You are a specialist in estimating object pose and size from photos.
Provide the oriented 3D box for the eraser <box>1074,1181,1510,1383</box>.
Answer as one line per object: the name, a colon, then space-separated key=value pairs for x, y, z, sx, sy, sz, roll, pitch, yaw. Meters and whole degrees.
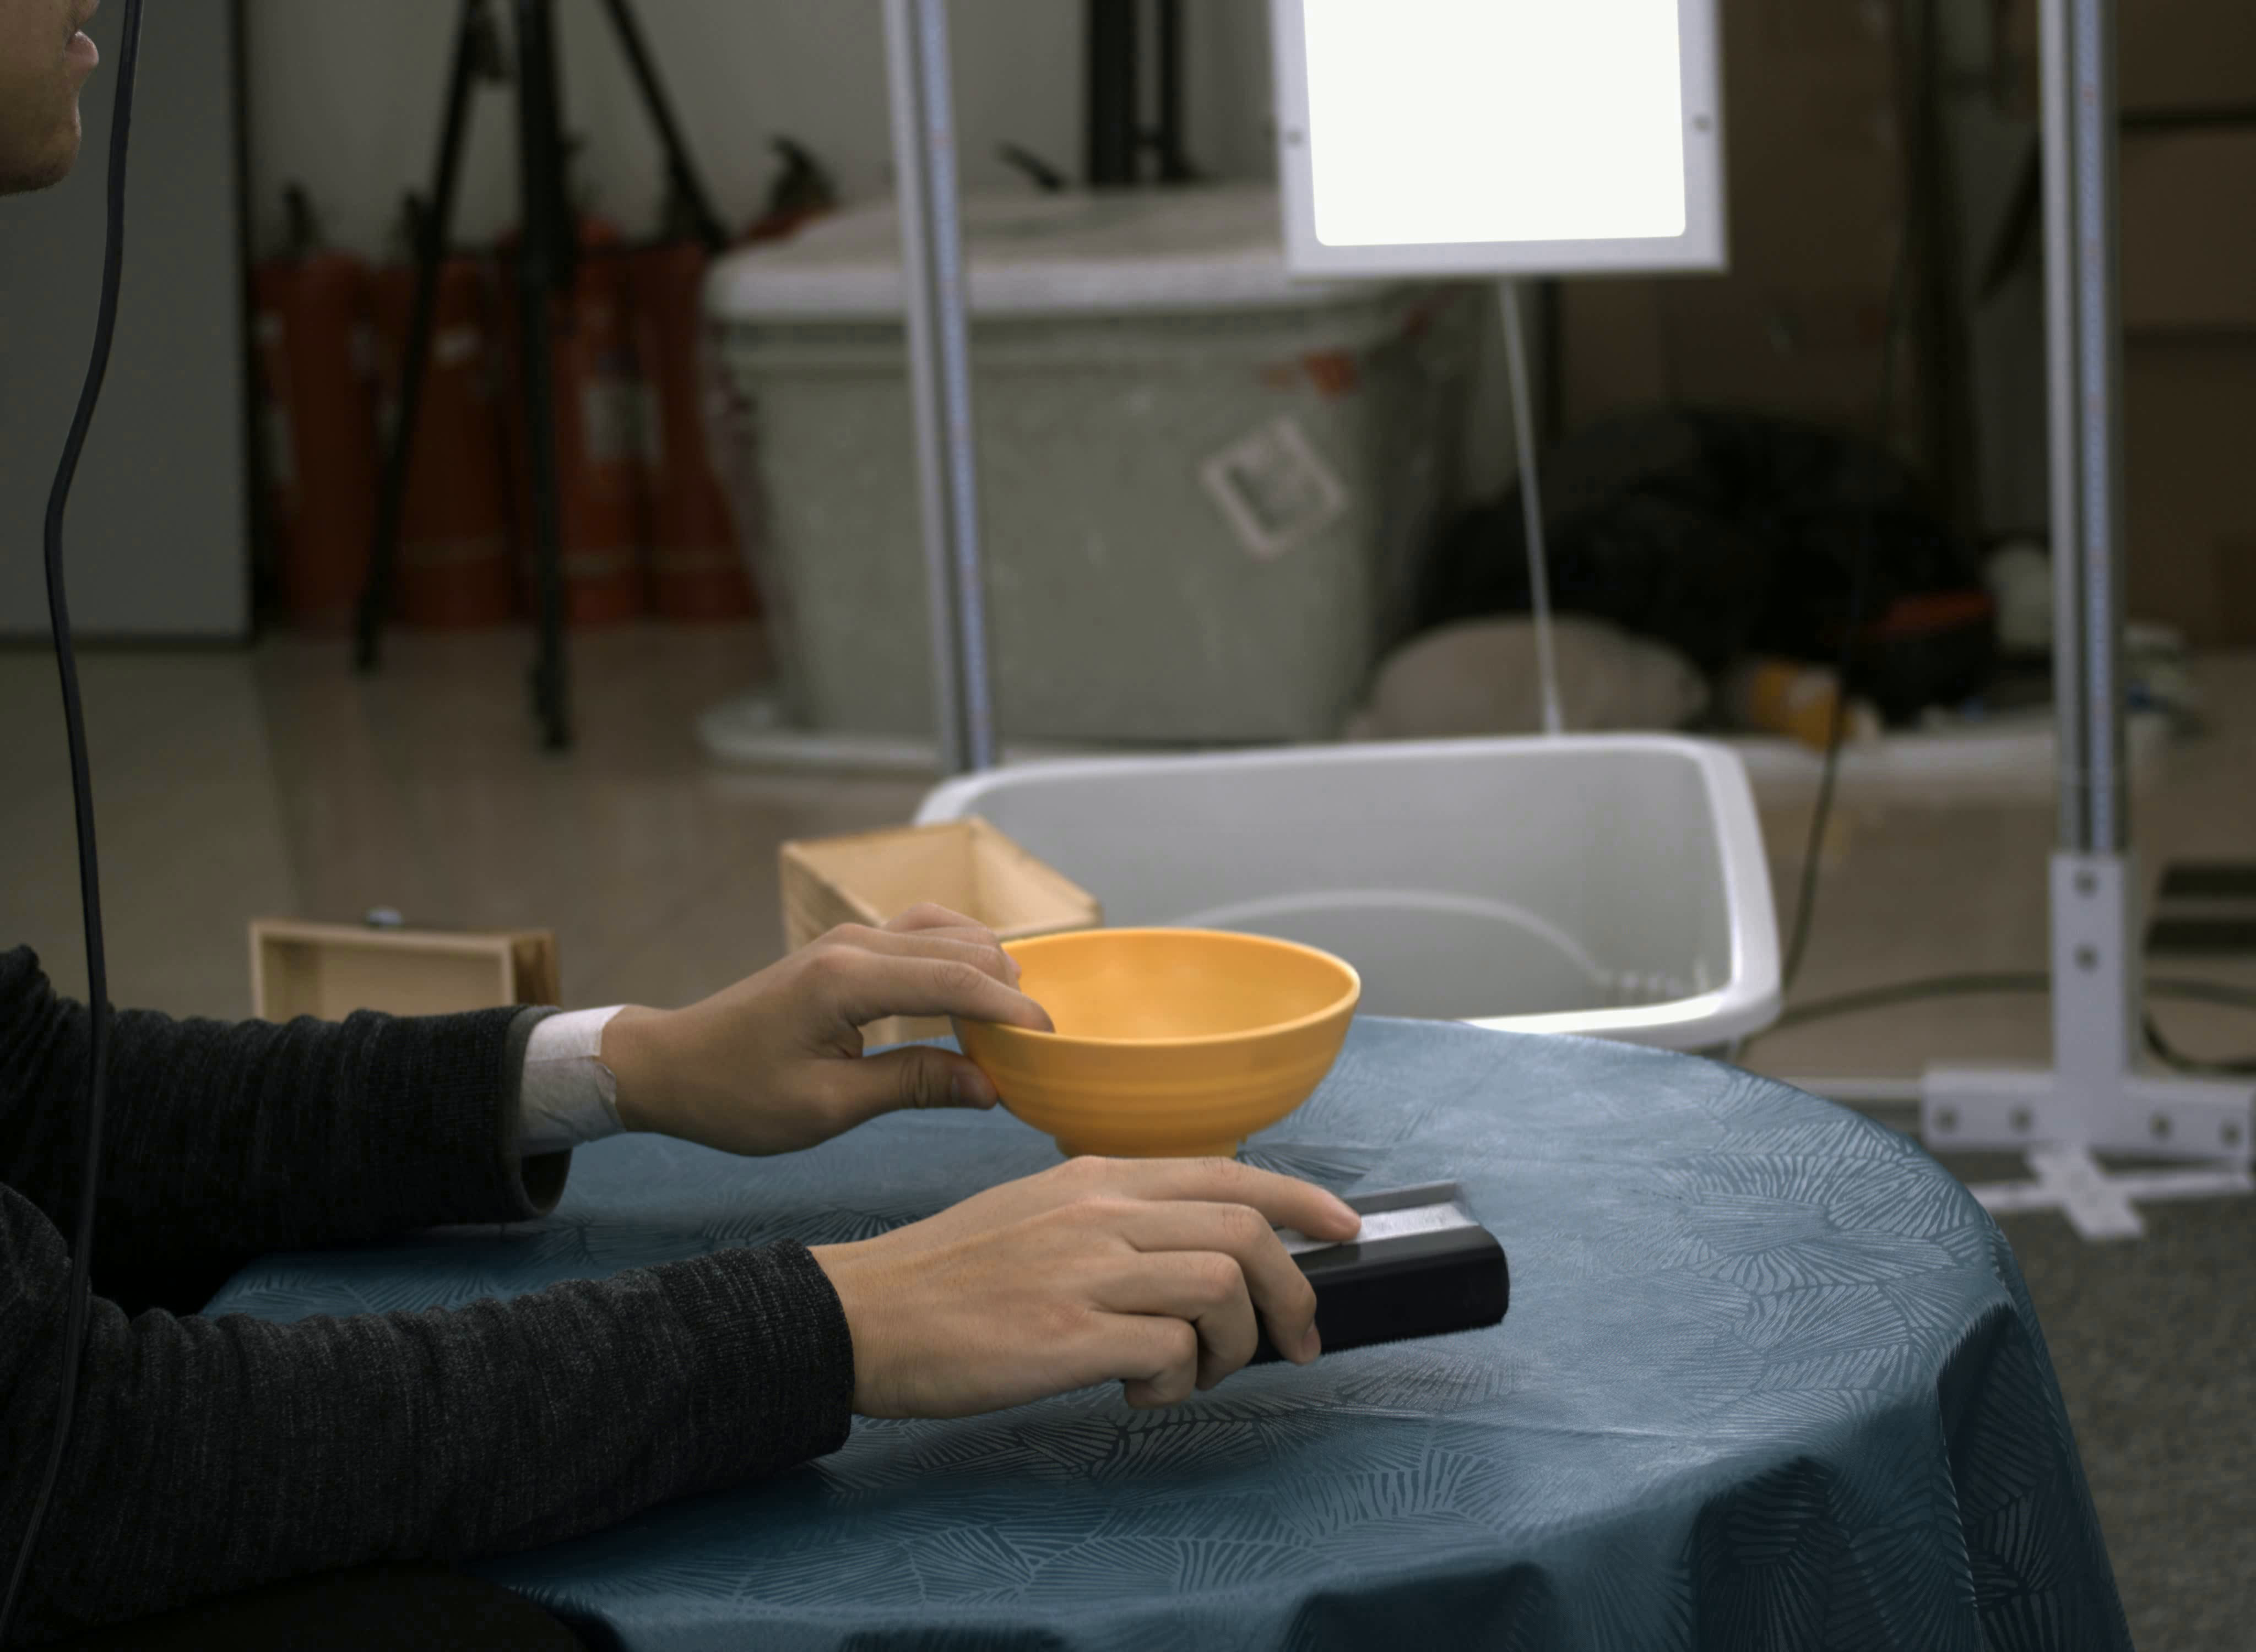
eraser: x=0.050 y=0.137 z=1.669 sx=0.123 sy=0.030 sz=0.054 roll=-9 pitch=22 yaw=-16

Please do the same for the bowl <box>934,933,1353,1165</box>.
bowl: x=0.005 y=0.080 z=1.886 sx=0.145 sy=0.060 sz=0.145 roll=-1 pitch=12 yaw=-1
